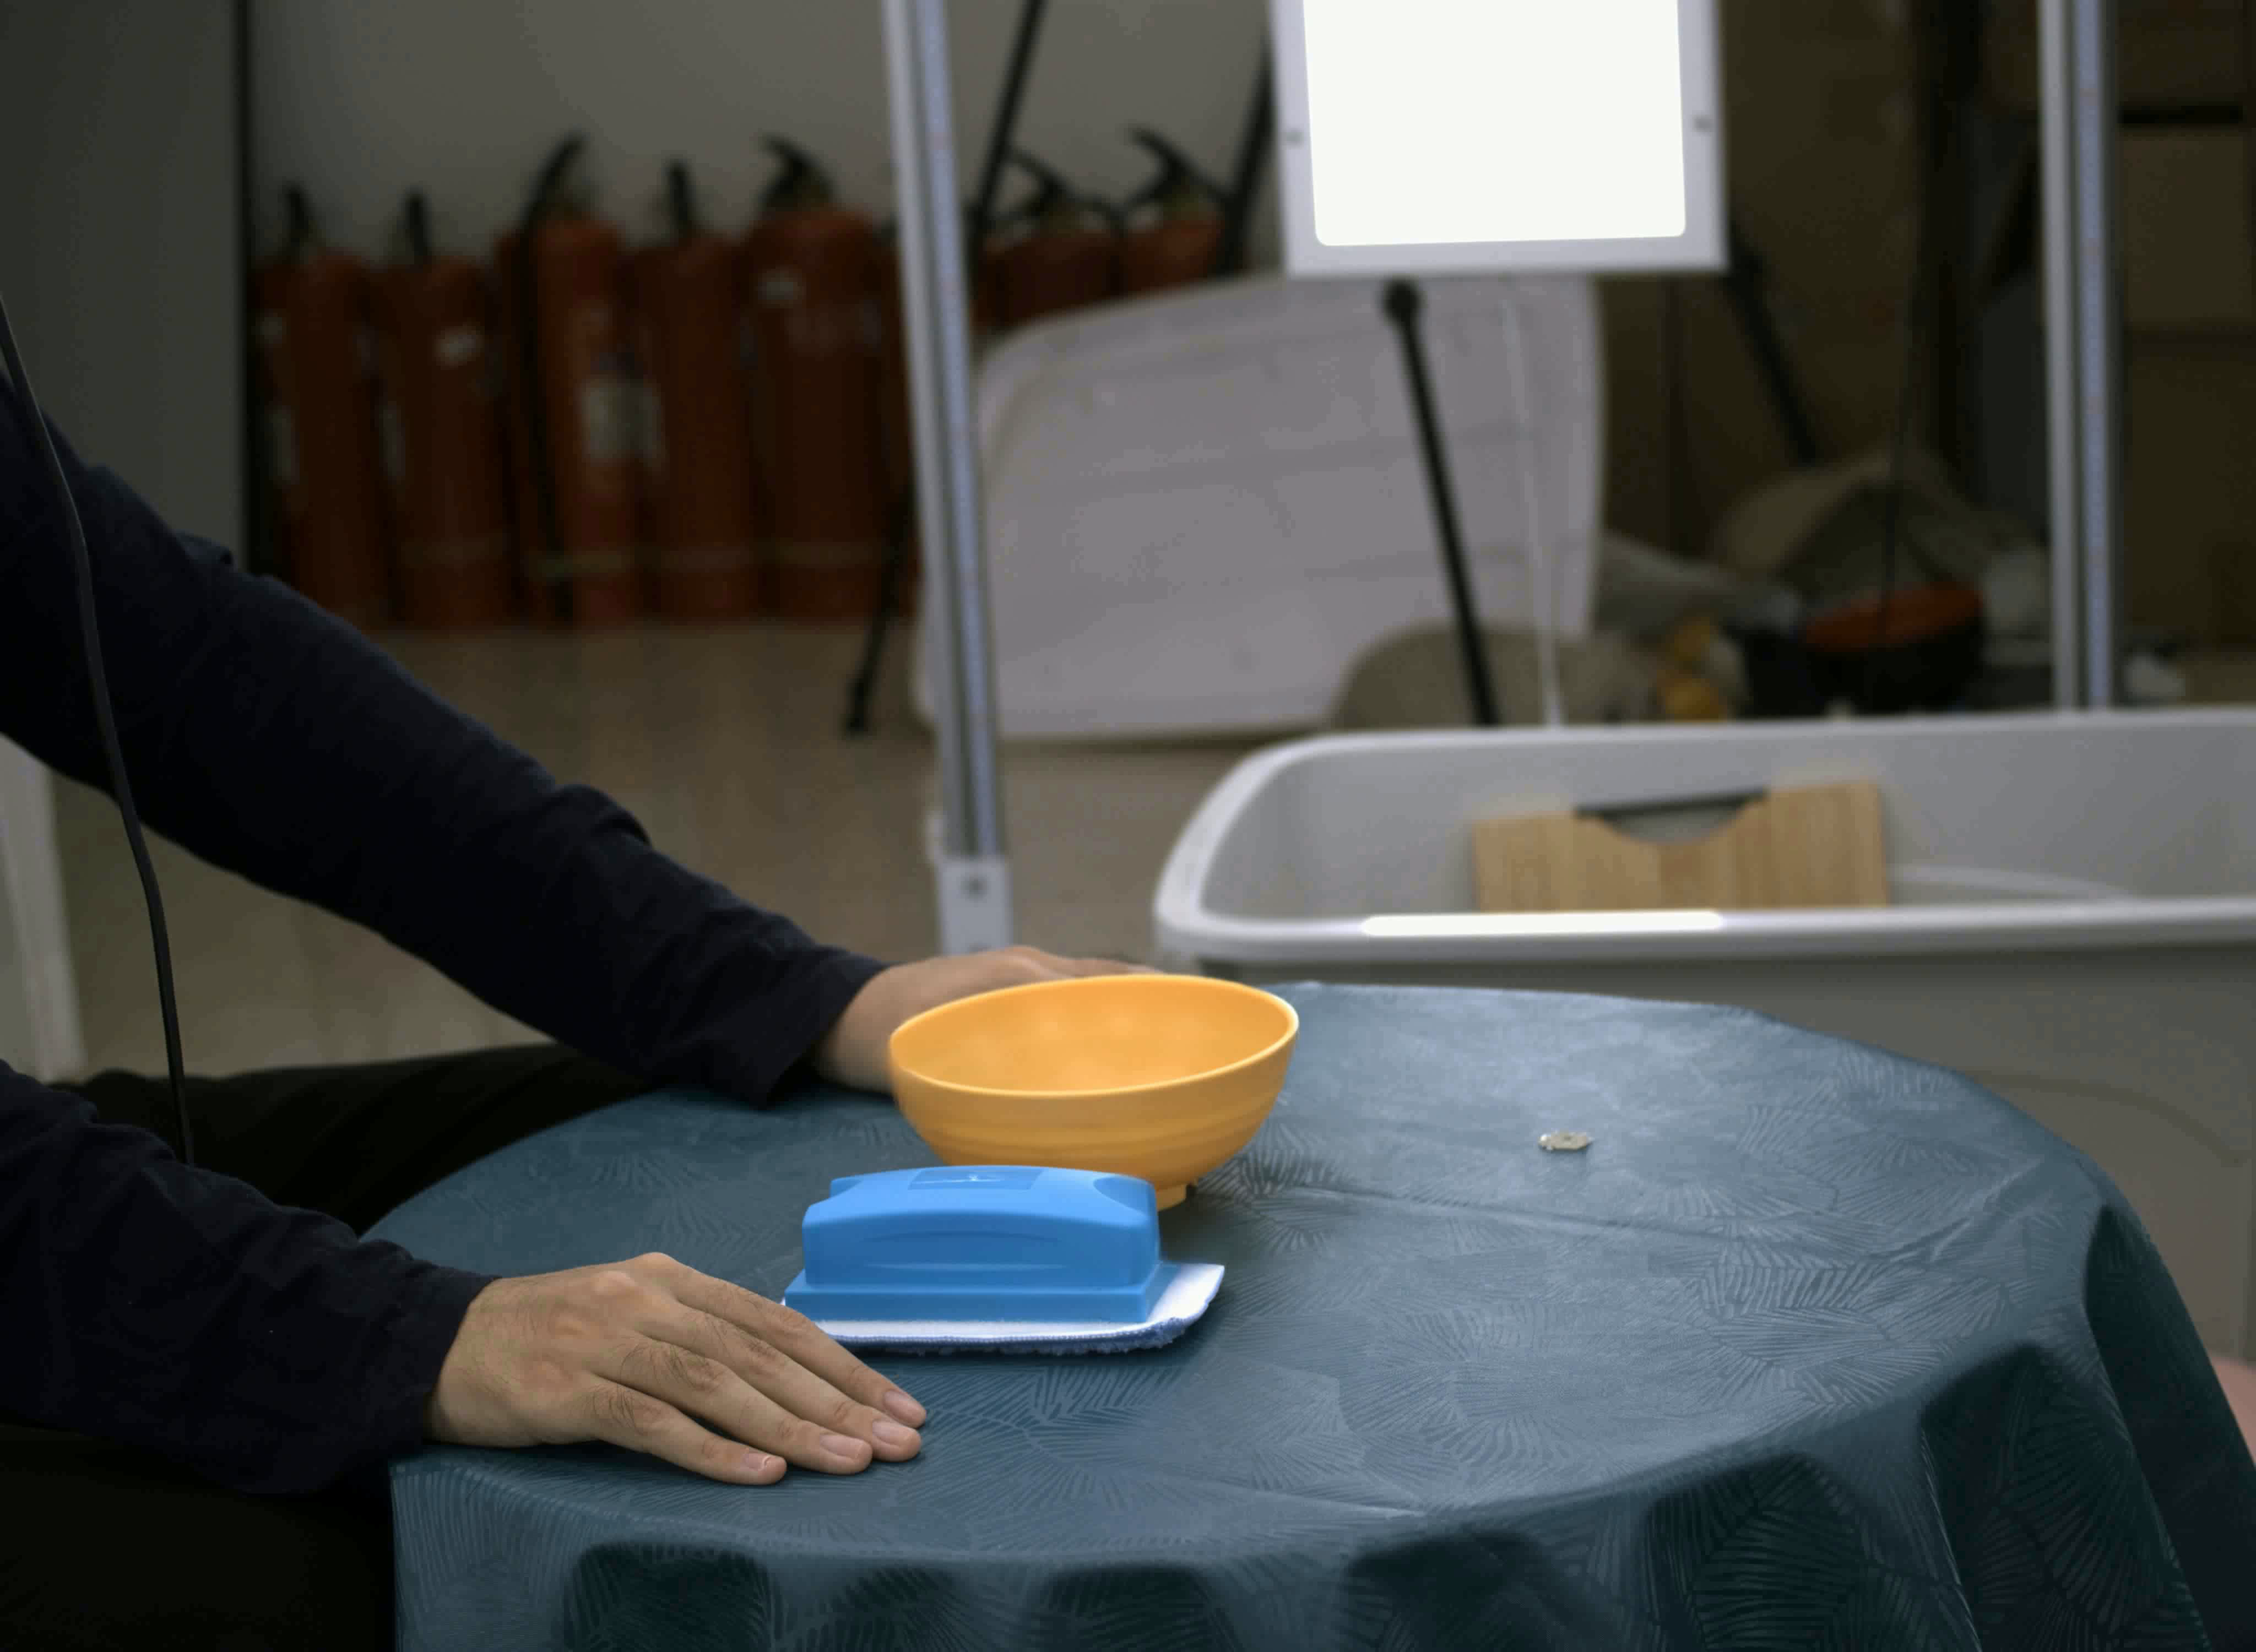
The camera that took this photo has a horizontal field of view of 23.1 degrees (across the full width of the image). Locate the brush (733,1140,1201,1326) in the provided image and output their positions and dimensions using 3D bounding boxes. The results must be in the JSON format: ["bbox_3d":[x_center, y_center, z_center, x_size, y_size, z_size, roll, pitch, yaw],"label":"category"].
[{"bbox_3d":[-0.051,0.131,1.770,0.145,0.056,0.082,2,11,18],"label":"brush"}]

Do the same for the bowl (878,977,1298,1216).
[{"bbox_3d":[-0.012,0.100,1.895,0.145,0.060,0.145,-3,14,-1],"label":"bowl"}]
